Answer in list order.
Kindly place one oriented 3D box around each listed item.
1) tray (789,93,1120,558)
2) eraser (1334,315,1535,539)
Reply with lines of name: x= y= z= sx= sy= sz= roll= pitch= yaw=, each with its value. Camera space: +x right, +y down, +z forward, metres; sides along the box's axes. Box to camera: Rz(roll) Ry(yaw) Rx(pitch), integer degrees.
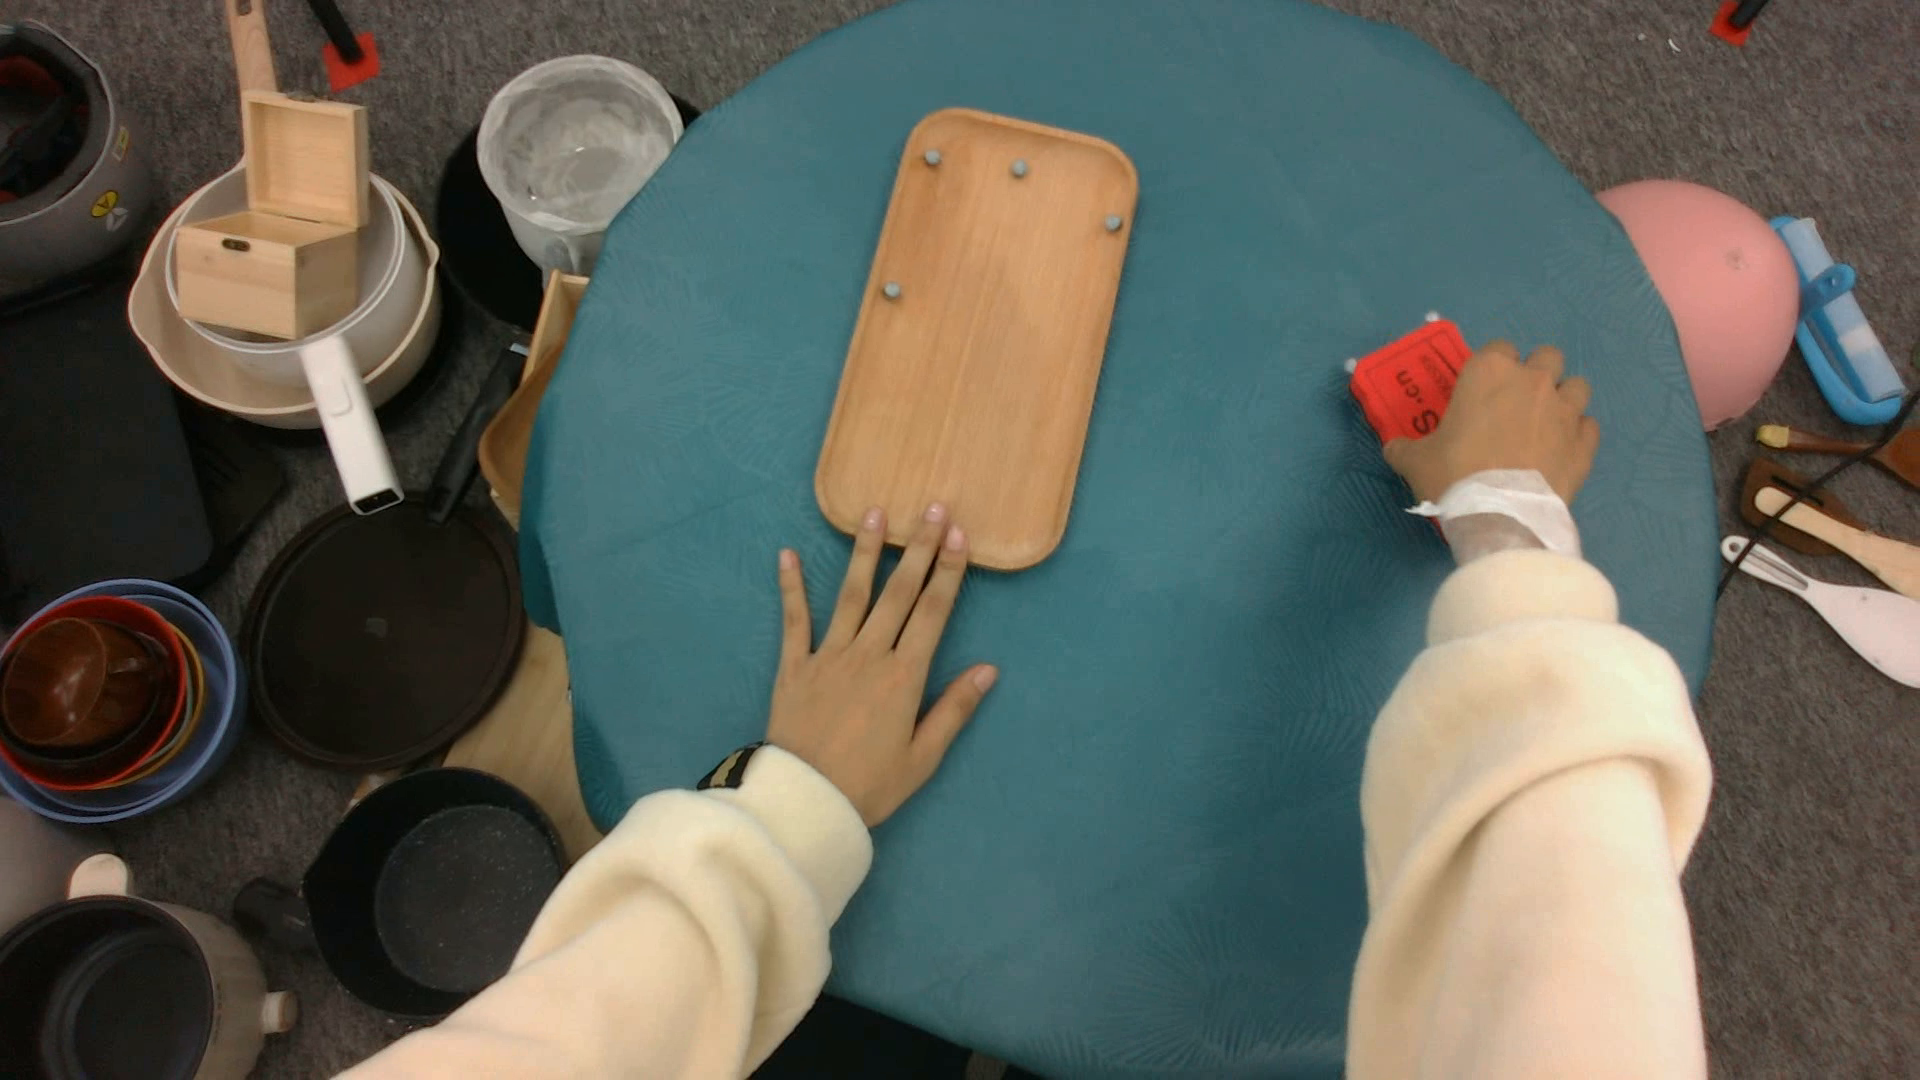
tray: x=0.001 y=-0.115 z=0.710 sx=0.130 sy=0.023 sz=0.251 roll=13 pitch=72 yaw=3
eraser: x=0.241 y=-0.059 z=0.703 sx=0.059 sy=0.023 sz=0.108 roll=-24 pitch=75 yaw=-9
